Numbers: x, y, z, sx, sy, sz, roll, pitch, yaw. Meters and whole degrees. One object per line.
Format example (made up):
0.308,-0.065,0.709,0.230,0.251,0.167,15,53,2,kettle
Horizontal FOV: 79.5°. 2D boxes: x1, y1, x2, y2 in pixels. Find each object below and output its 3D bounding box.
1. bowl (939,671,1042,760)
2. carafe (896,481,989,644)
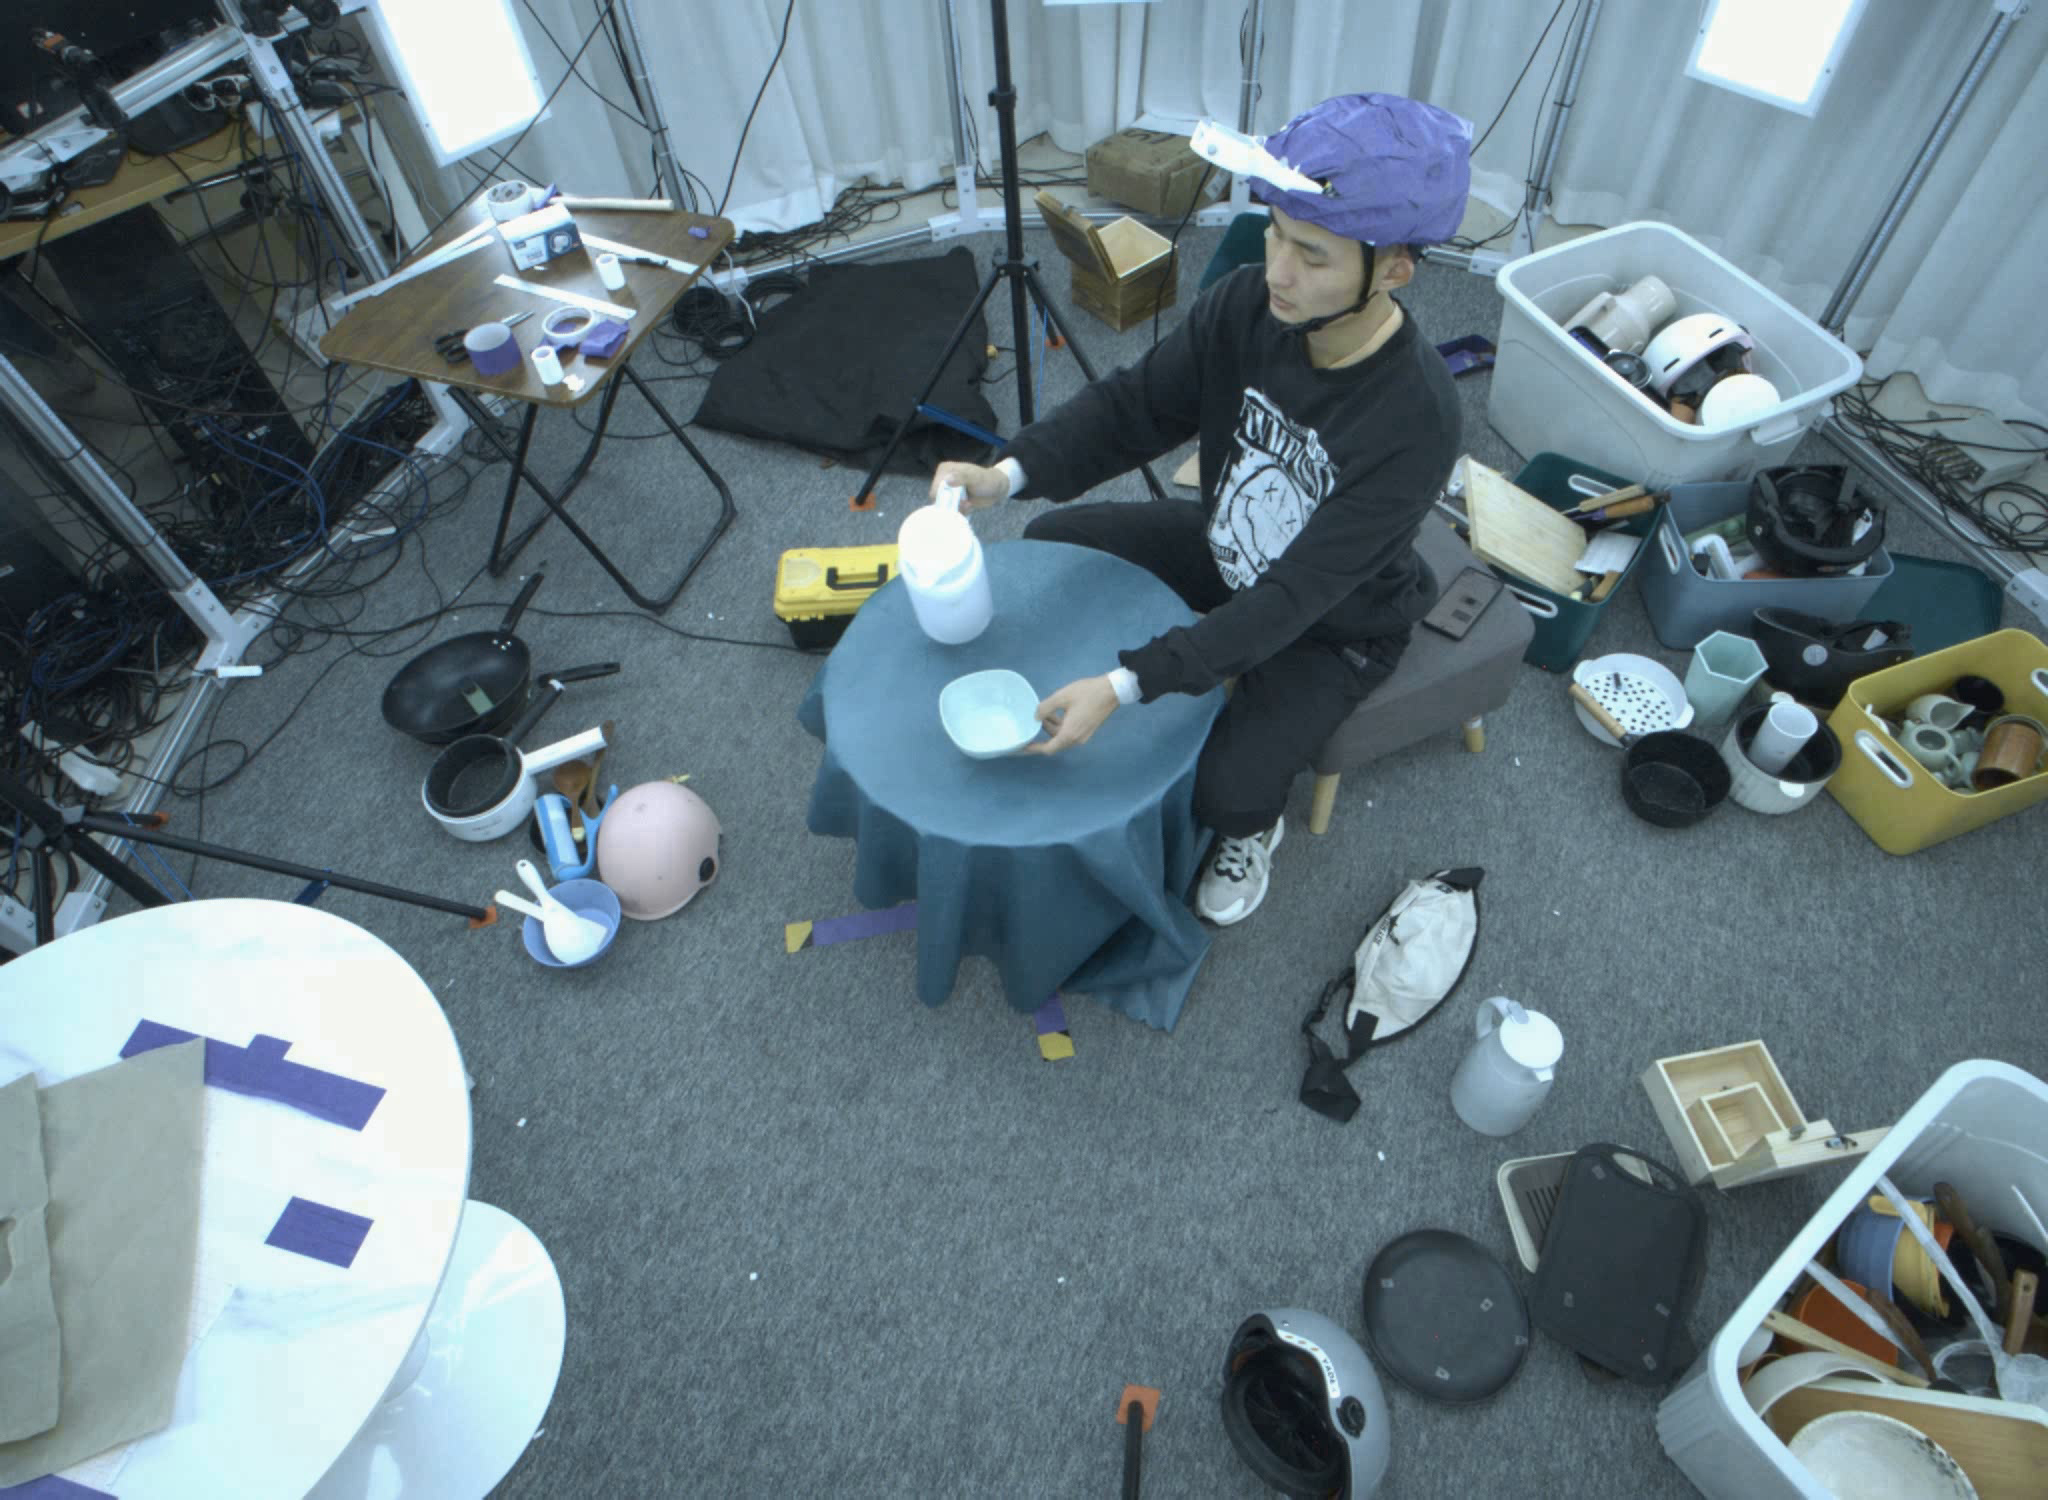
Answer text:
-0.049,-0.039,1.737,0.152,0.059,0.150,4,54,-4,bowl
-0.115,-0.264,1.754,0.123,0.271,0.172,9,76,7,carafe
